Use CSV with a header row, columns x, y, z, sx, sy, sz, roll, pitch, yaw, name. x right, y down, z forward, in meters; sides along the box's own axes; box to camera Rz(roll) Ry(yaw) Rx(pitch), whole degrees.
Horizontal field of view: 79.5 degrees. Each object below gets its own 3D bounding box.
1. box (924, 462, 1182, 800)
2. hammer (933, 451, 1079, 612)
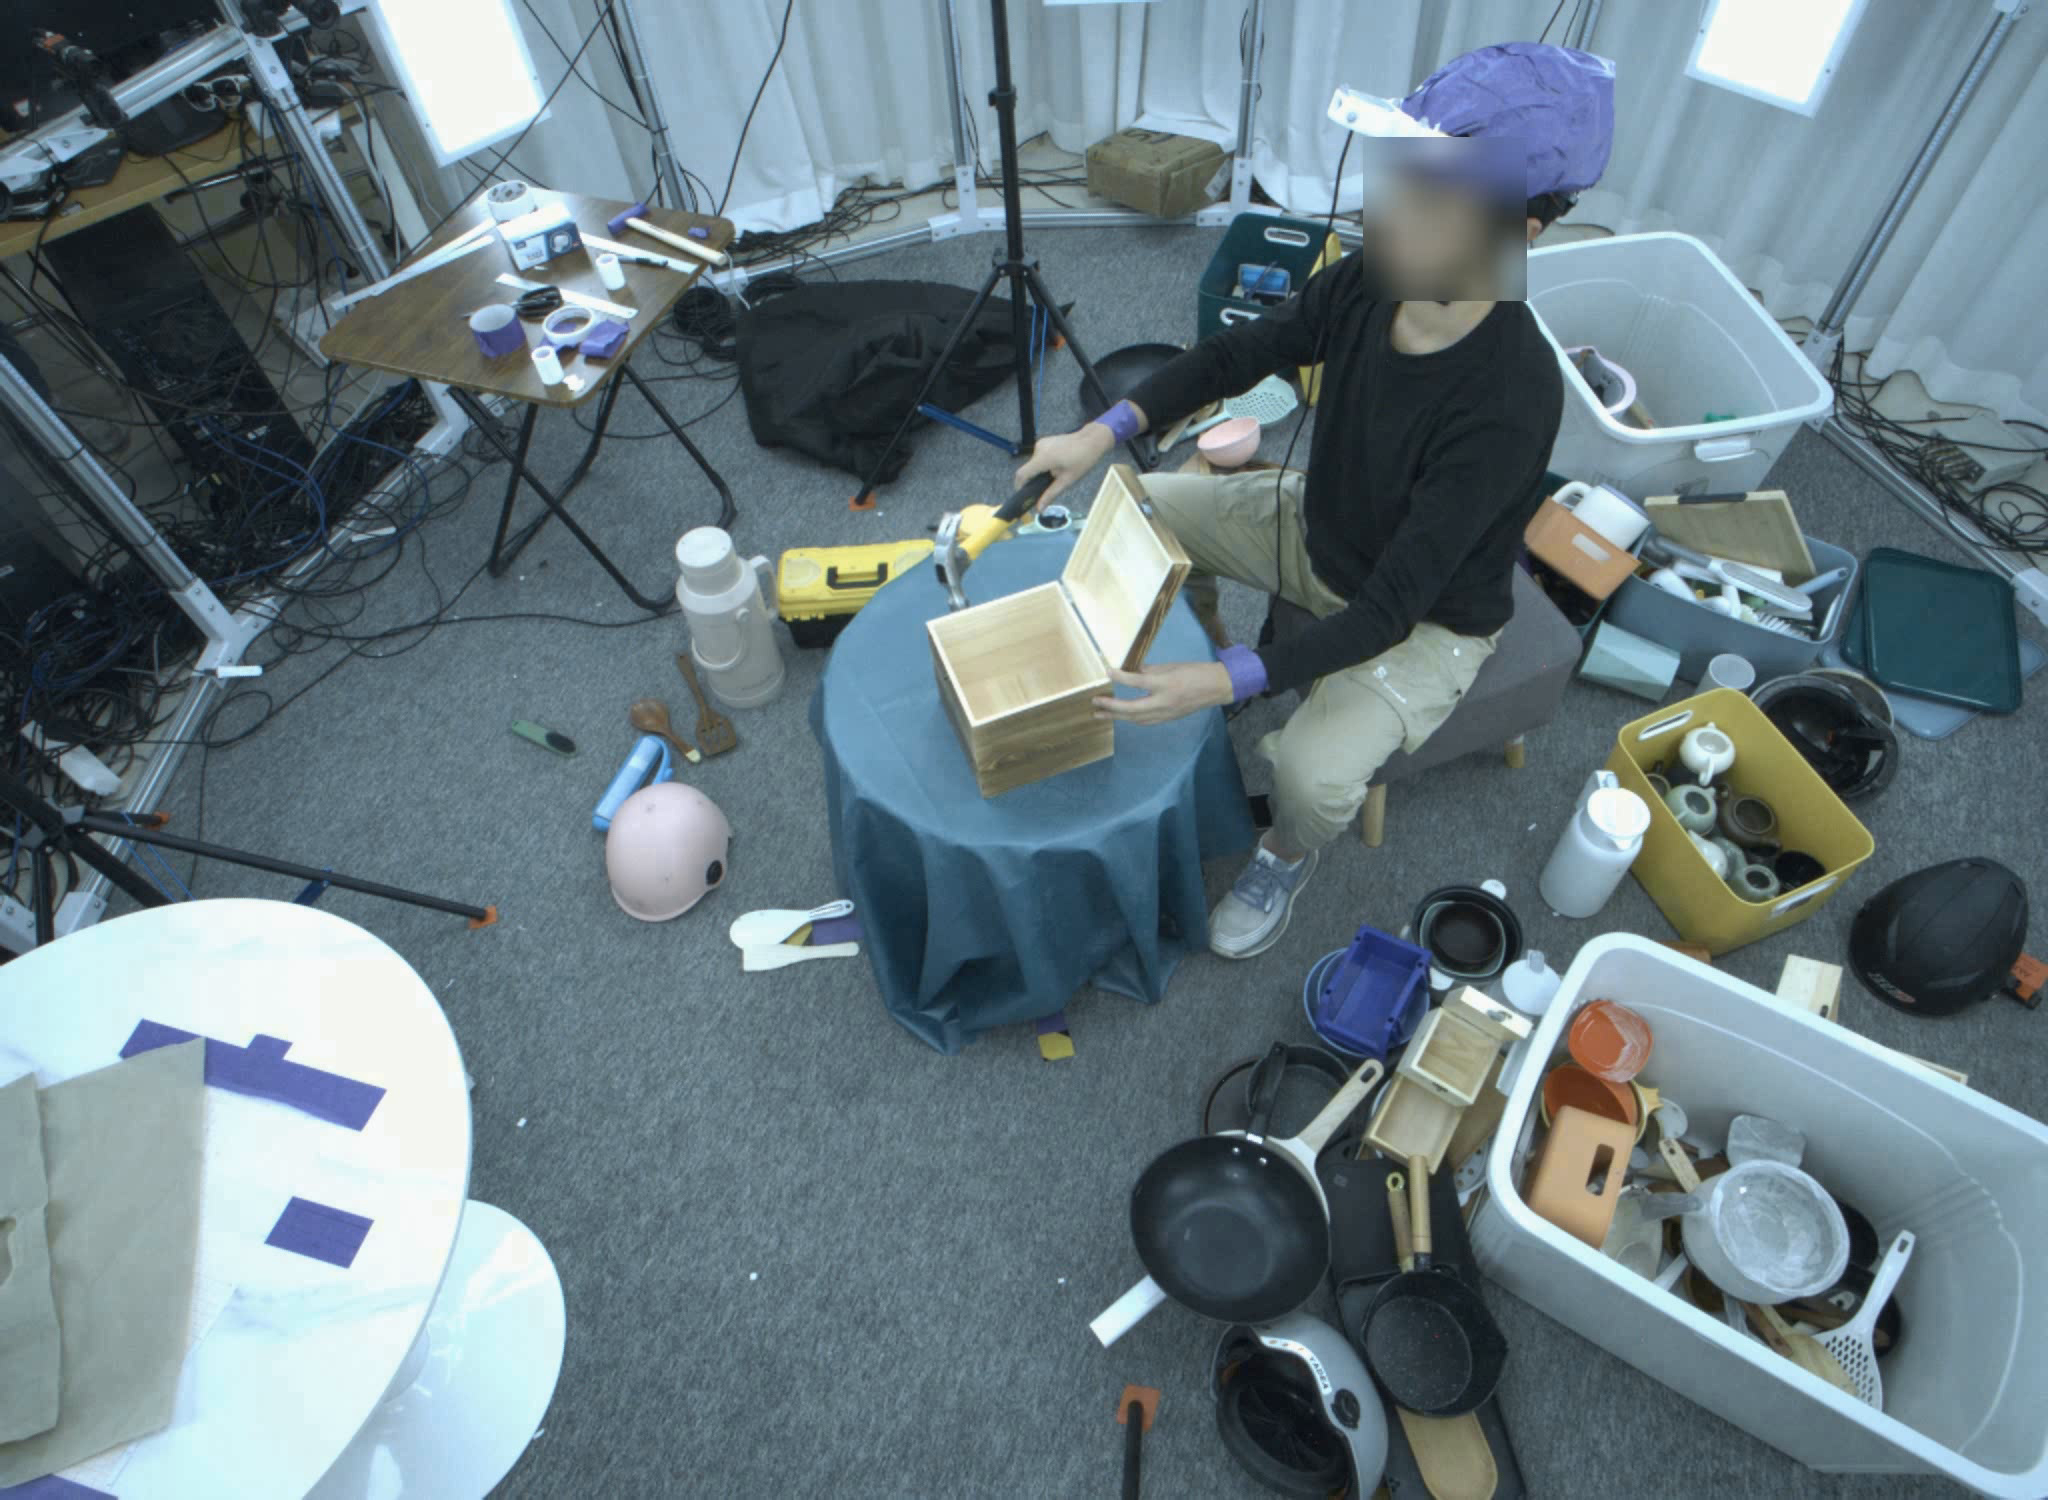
x,y,z,sx,sy,sz,roll,pitch,yaw,name
0.036,-0.160,1.672,0.324,0.379,0.205,-19,55,-10,box
-0.021,-0.347,1.795,0.031,0.133,0.340,16,48,34,hammer
